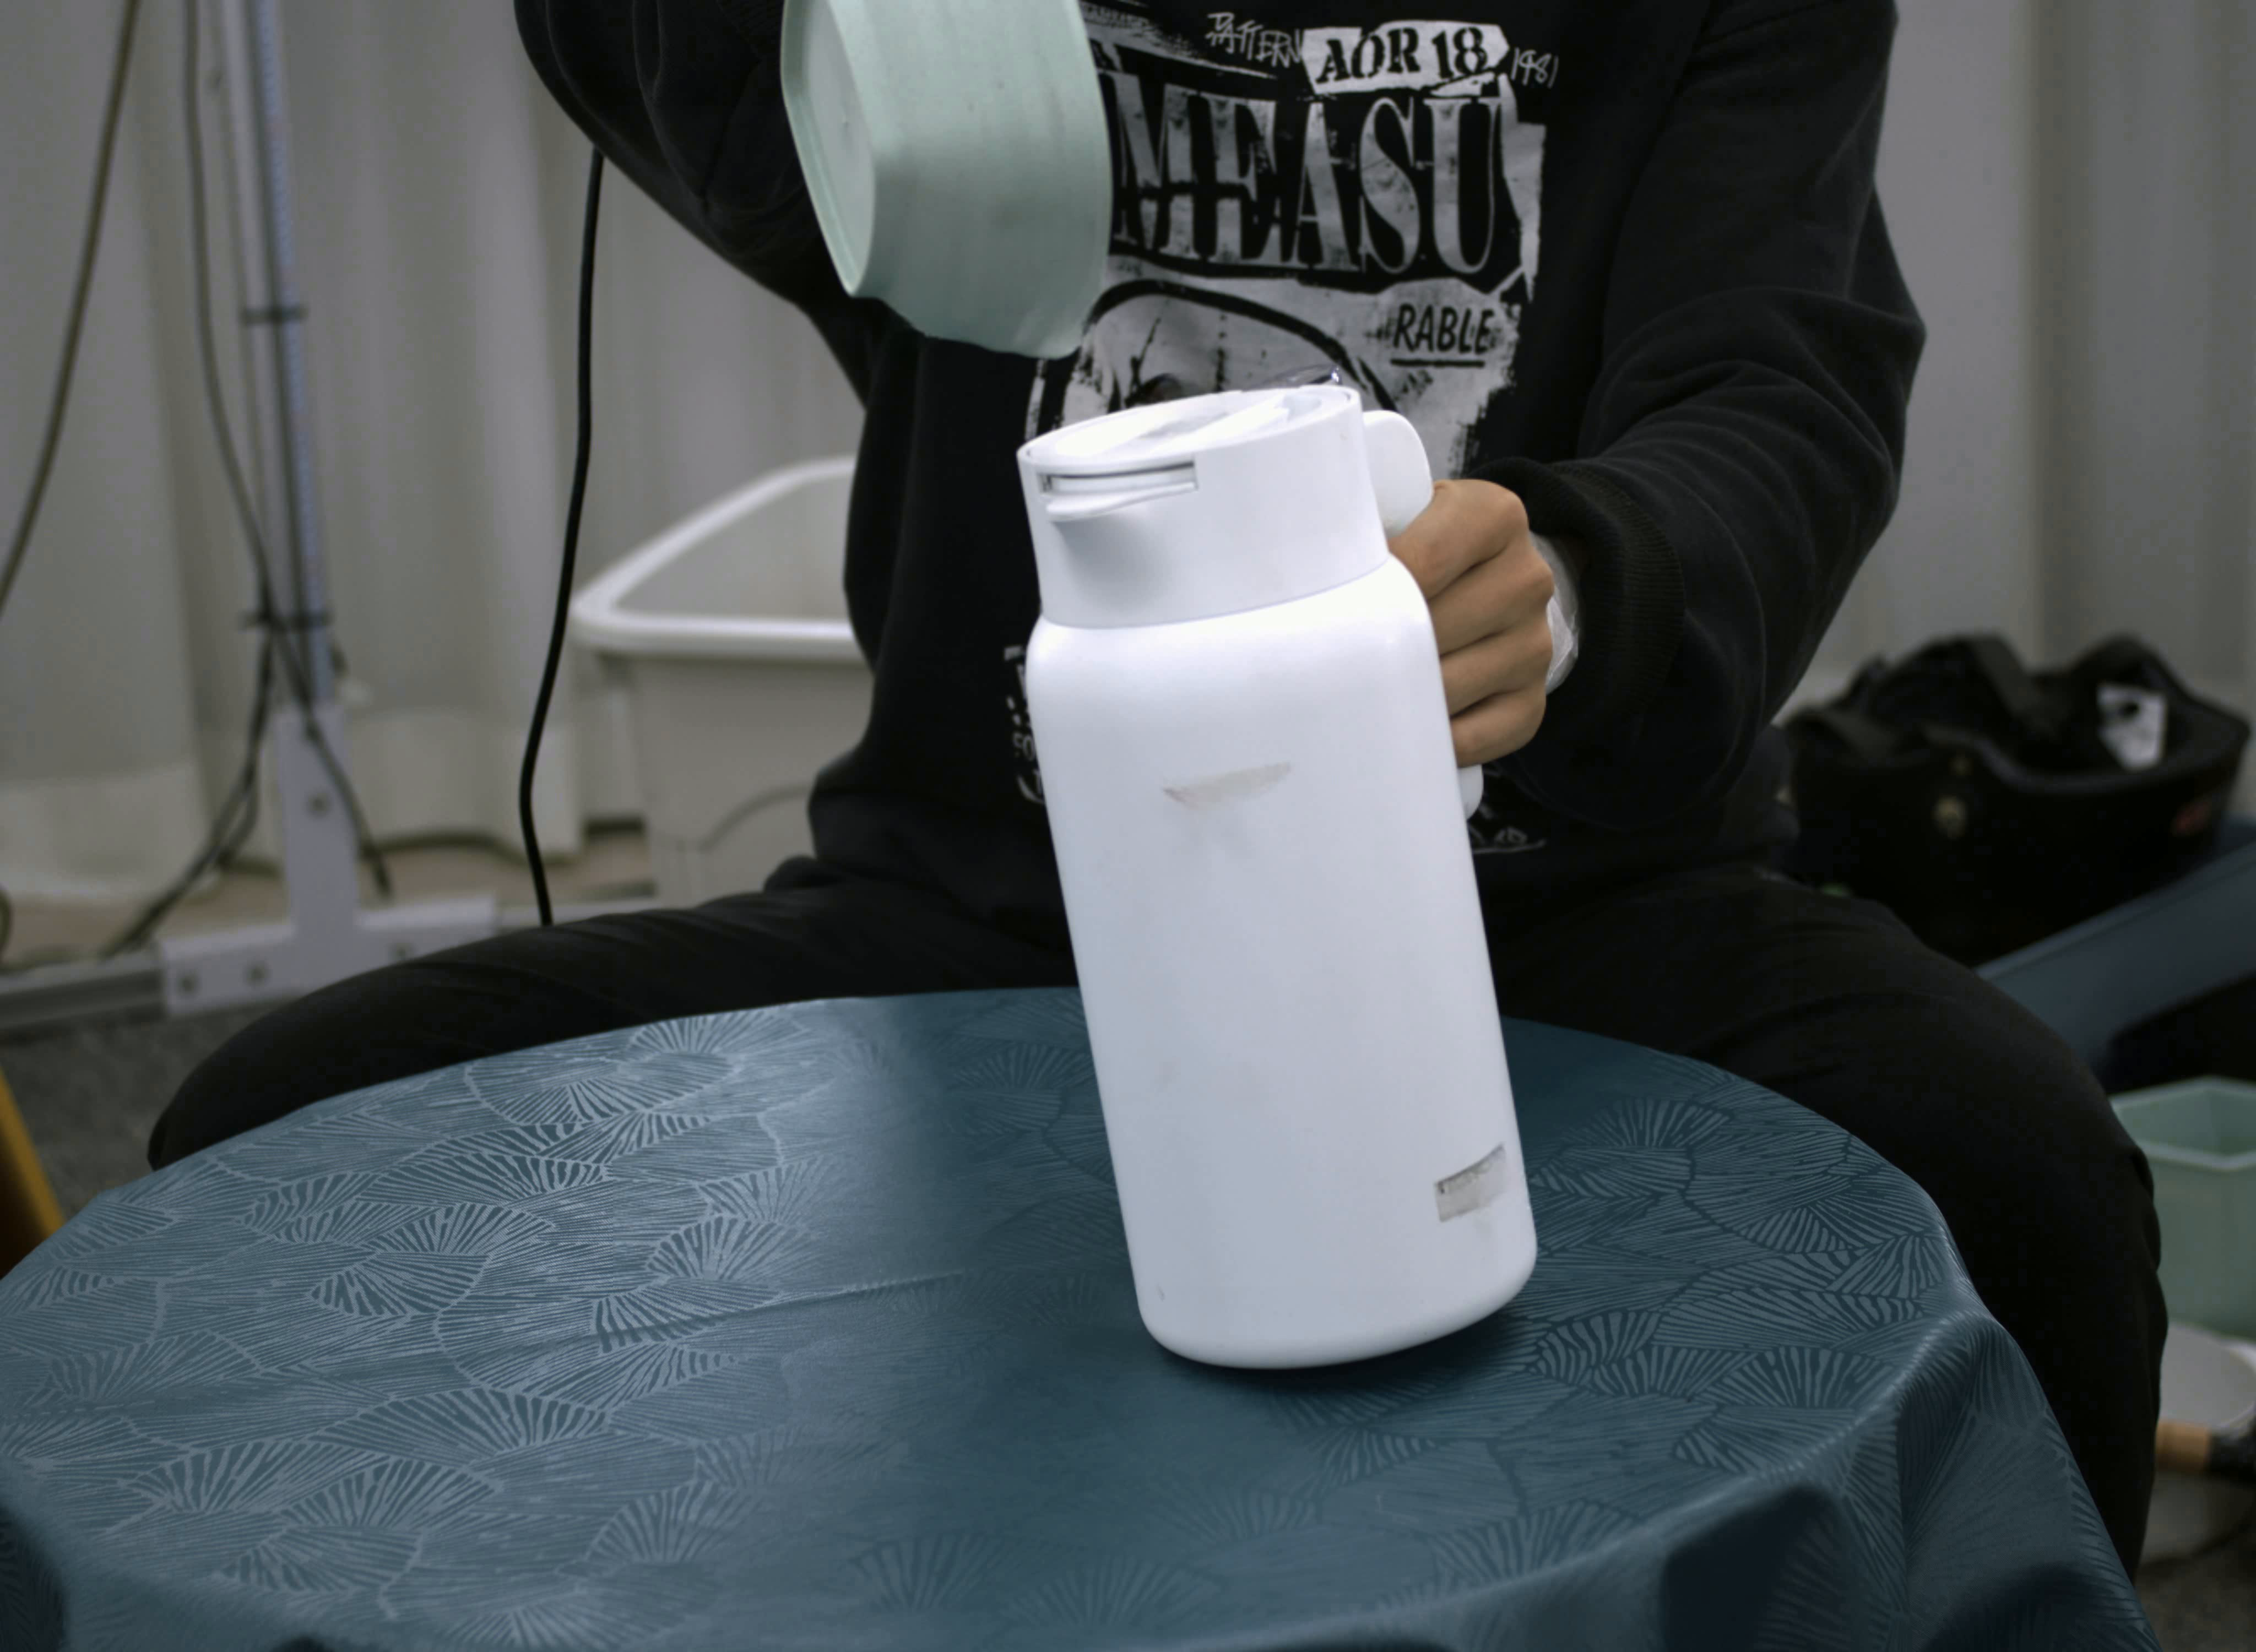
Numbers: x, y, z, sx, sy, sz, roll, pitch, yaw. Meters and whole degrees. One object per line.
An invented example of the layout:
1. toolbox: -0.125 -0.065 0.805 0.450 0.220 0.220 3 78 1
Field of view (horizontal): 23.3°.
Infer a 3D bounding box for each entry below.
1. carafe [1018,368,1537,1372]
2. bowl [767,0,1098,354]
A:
1. carafe: 0.047 0.008 1.572 0.124 0.268 0.173 -5 12 33
2. bowl: -0.058 -0.198 1.495 0.058 0.151 0.152 -12 17 -15
